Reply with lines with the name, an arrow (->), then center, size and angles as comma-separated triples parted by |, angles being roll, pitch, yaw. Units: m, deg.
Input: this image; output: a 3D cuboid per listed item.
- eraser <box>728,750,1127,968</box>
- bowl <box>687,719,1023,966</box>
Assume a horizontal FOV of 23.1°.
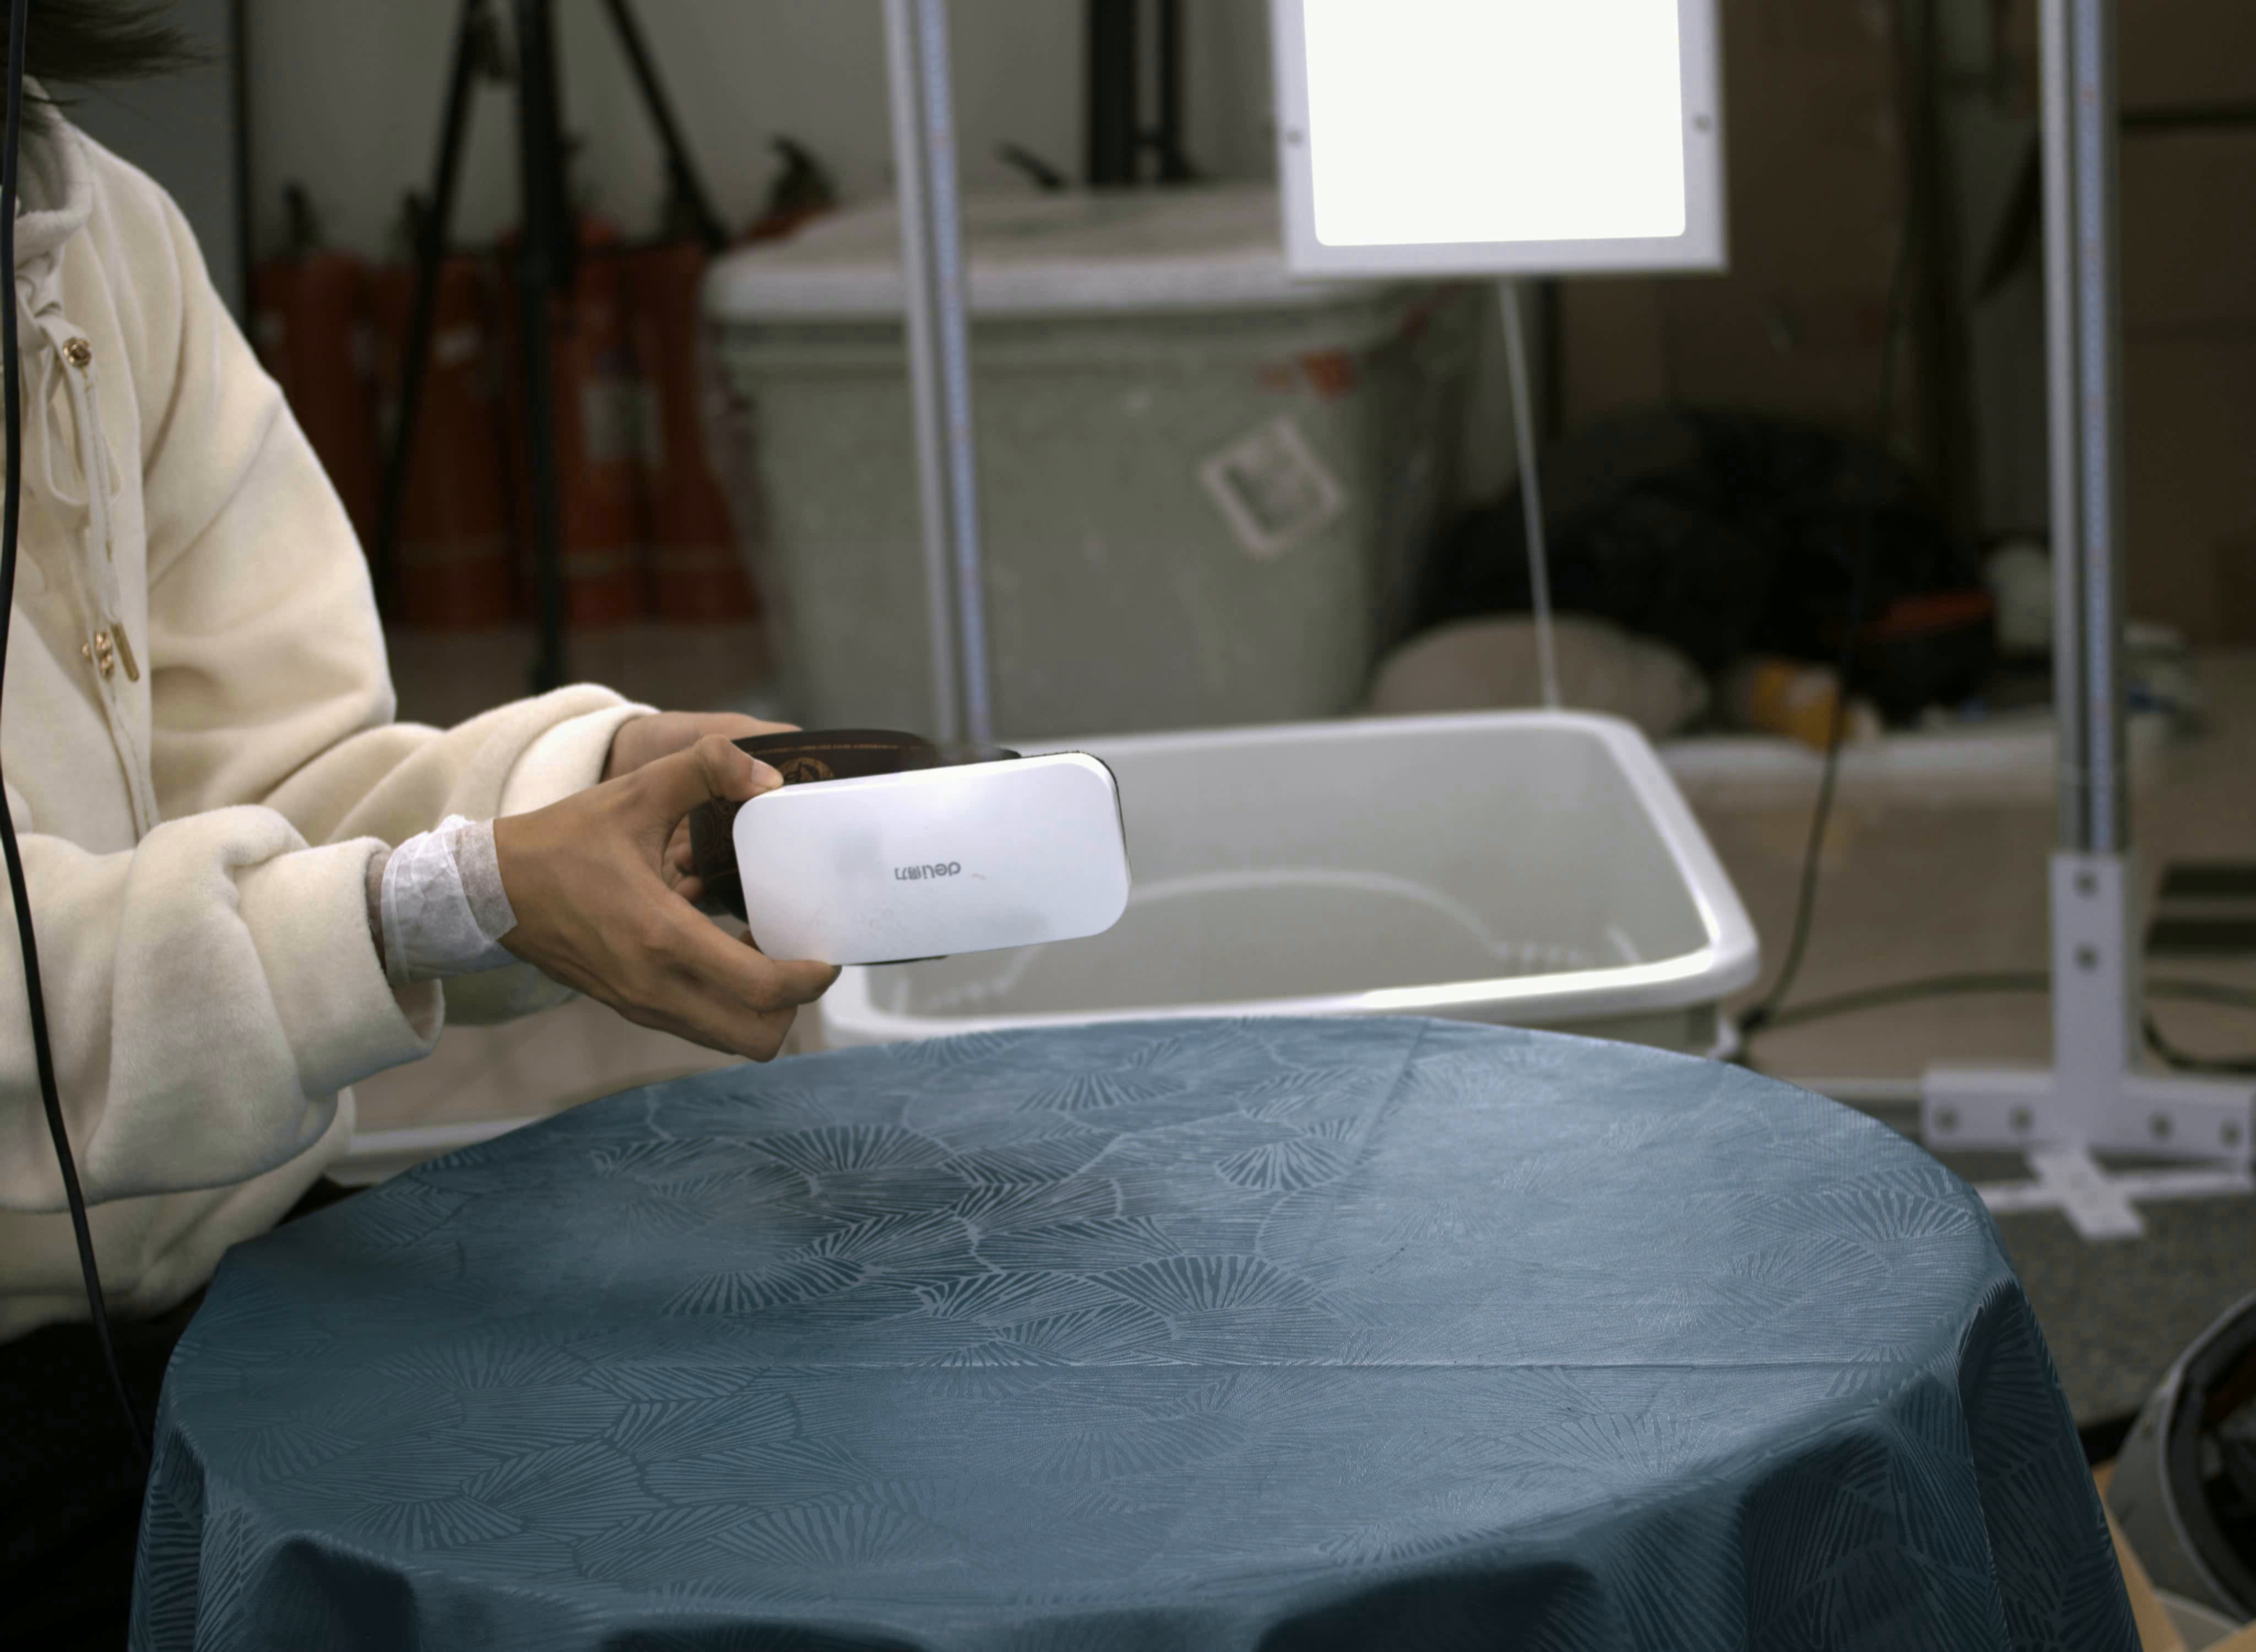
eraser -> -0.066, 0.009, 1.821 | 0.132, 0.063, 0.034 | -6, 13, 15
bowl -> -0.093, 0.009, 1.901 | 0.117, 0.070, 0.118 | 0, -13, -1
